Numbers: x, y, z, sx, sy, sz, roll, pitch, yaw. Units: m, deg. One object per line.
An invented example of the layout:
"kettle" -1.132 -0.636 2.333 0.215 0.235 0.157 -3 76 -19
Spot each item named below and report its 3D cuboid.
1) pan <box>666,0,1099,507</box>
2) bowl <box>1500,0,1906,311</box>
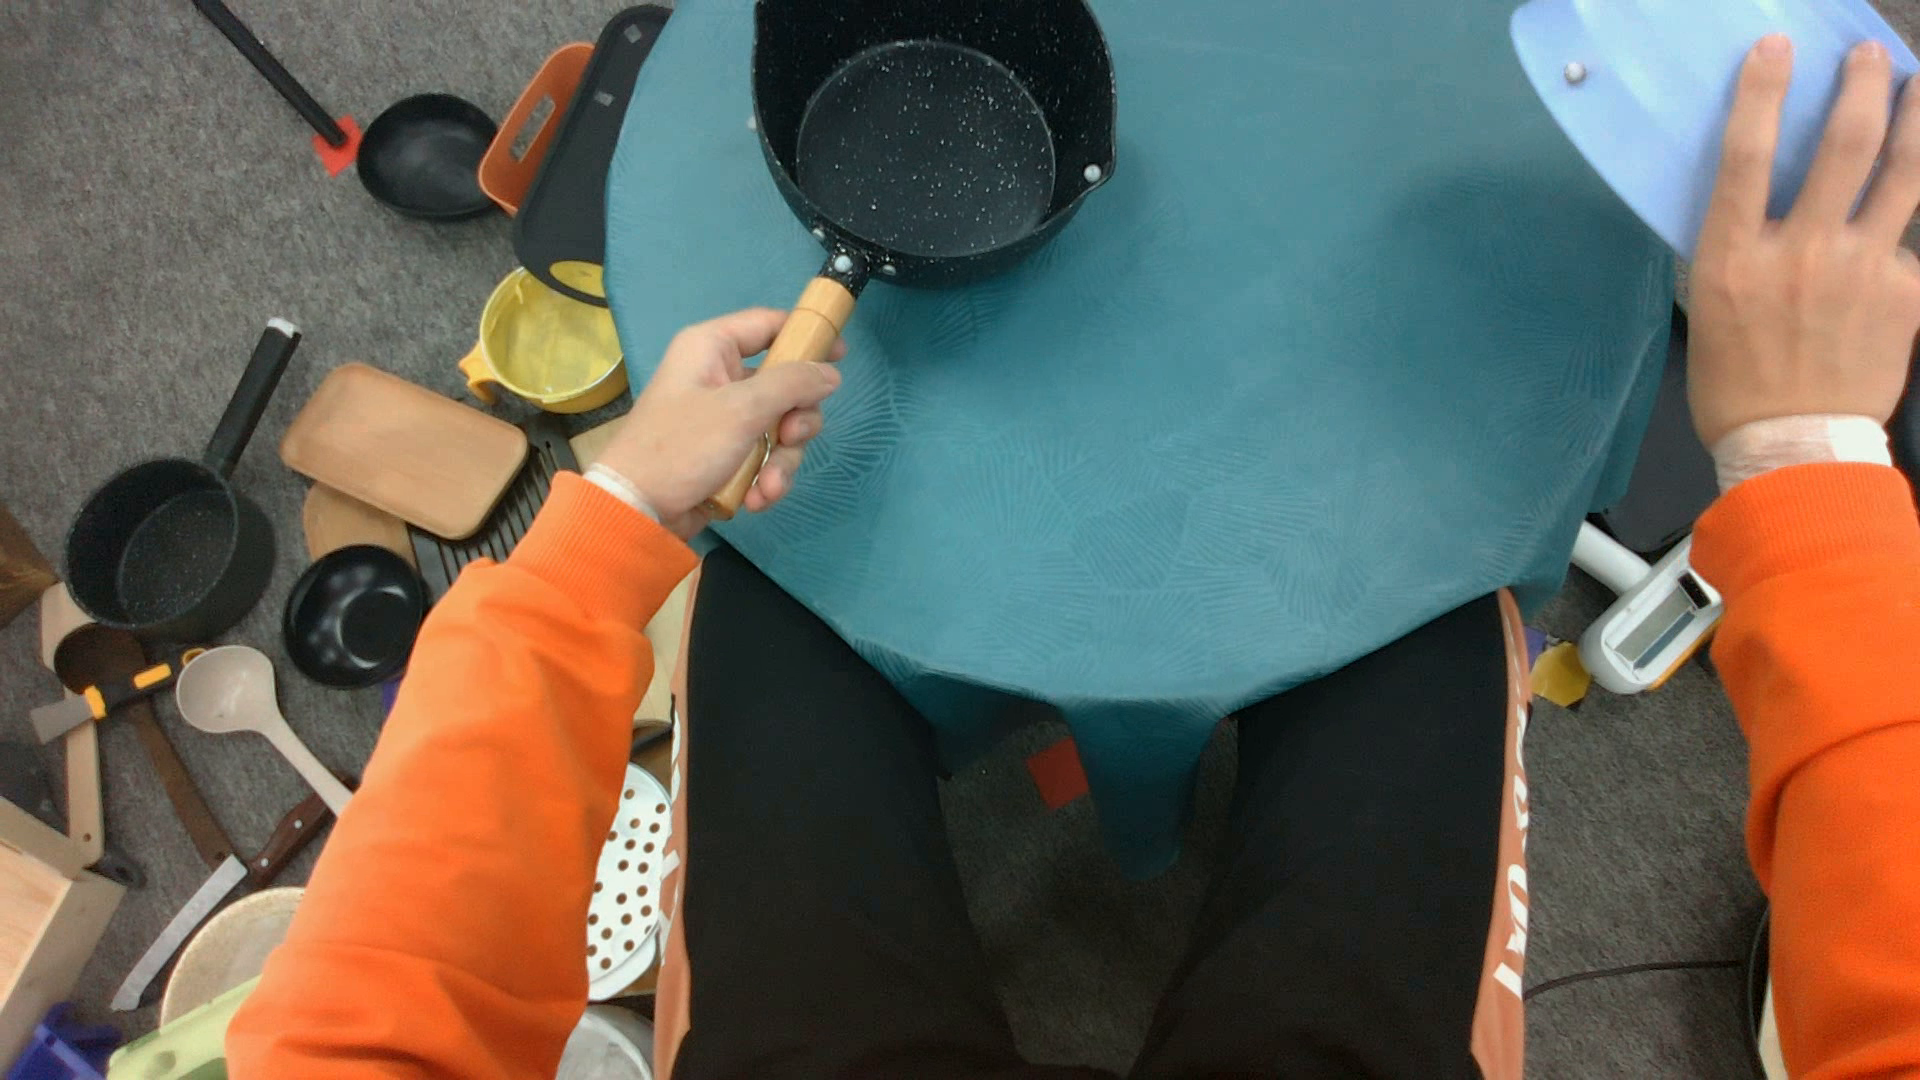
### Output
"pan" -0.056 -0.157 0.708 0.207 0.108 0.343 24 75 -1
"bowl" 0.352 -0.209 0.625 0.196 0.095 0.197 24 44 -25
